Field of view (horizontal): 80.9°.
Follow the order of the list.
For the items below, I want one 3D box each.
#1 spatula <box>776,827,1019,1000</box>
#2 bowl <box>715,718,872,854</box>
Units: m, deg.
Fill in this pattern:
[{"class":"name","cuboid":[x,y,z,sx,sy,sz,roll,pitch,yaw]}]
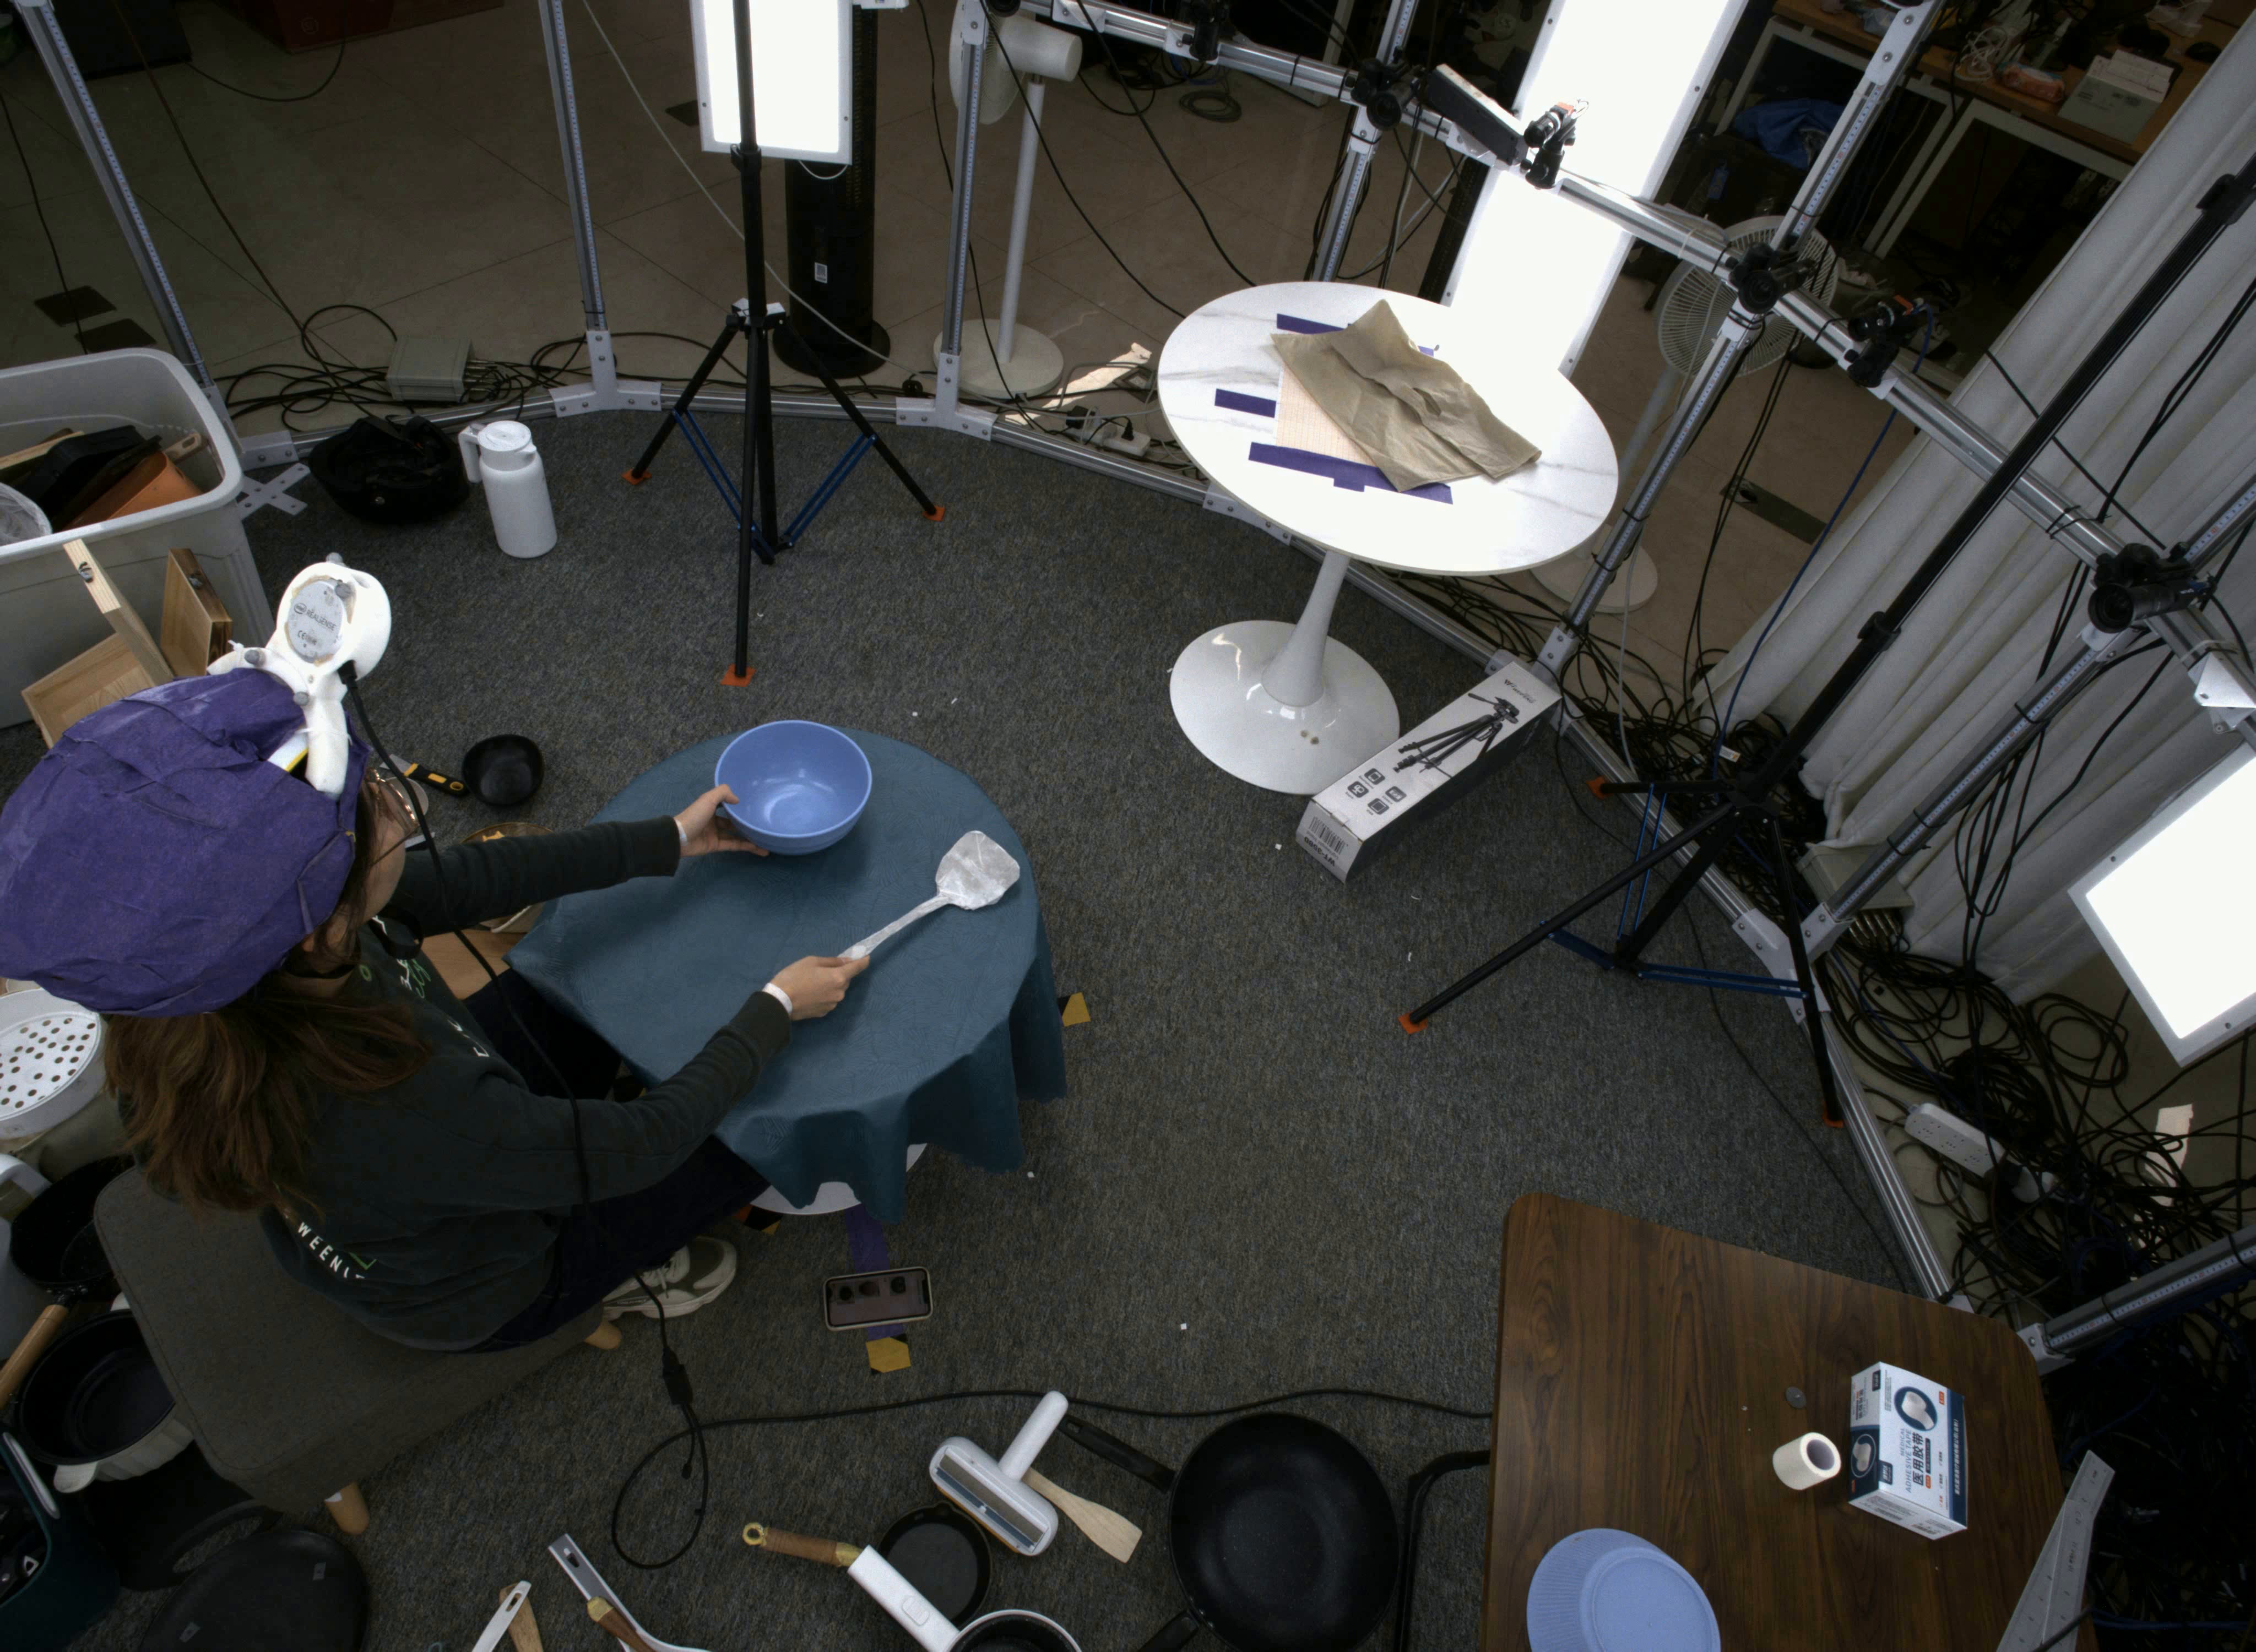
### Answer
[{"class":"spatula","cuboid":[-0.289,0.116,1.637,0.097,0.045,0.366,44,49,14]},{"class":"bowl","cuboid":[-0.436,-0.037,1.690,0.196,0.097,0.193,9,50,-10]}]
